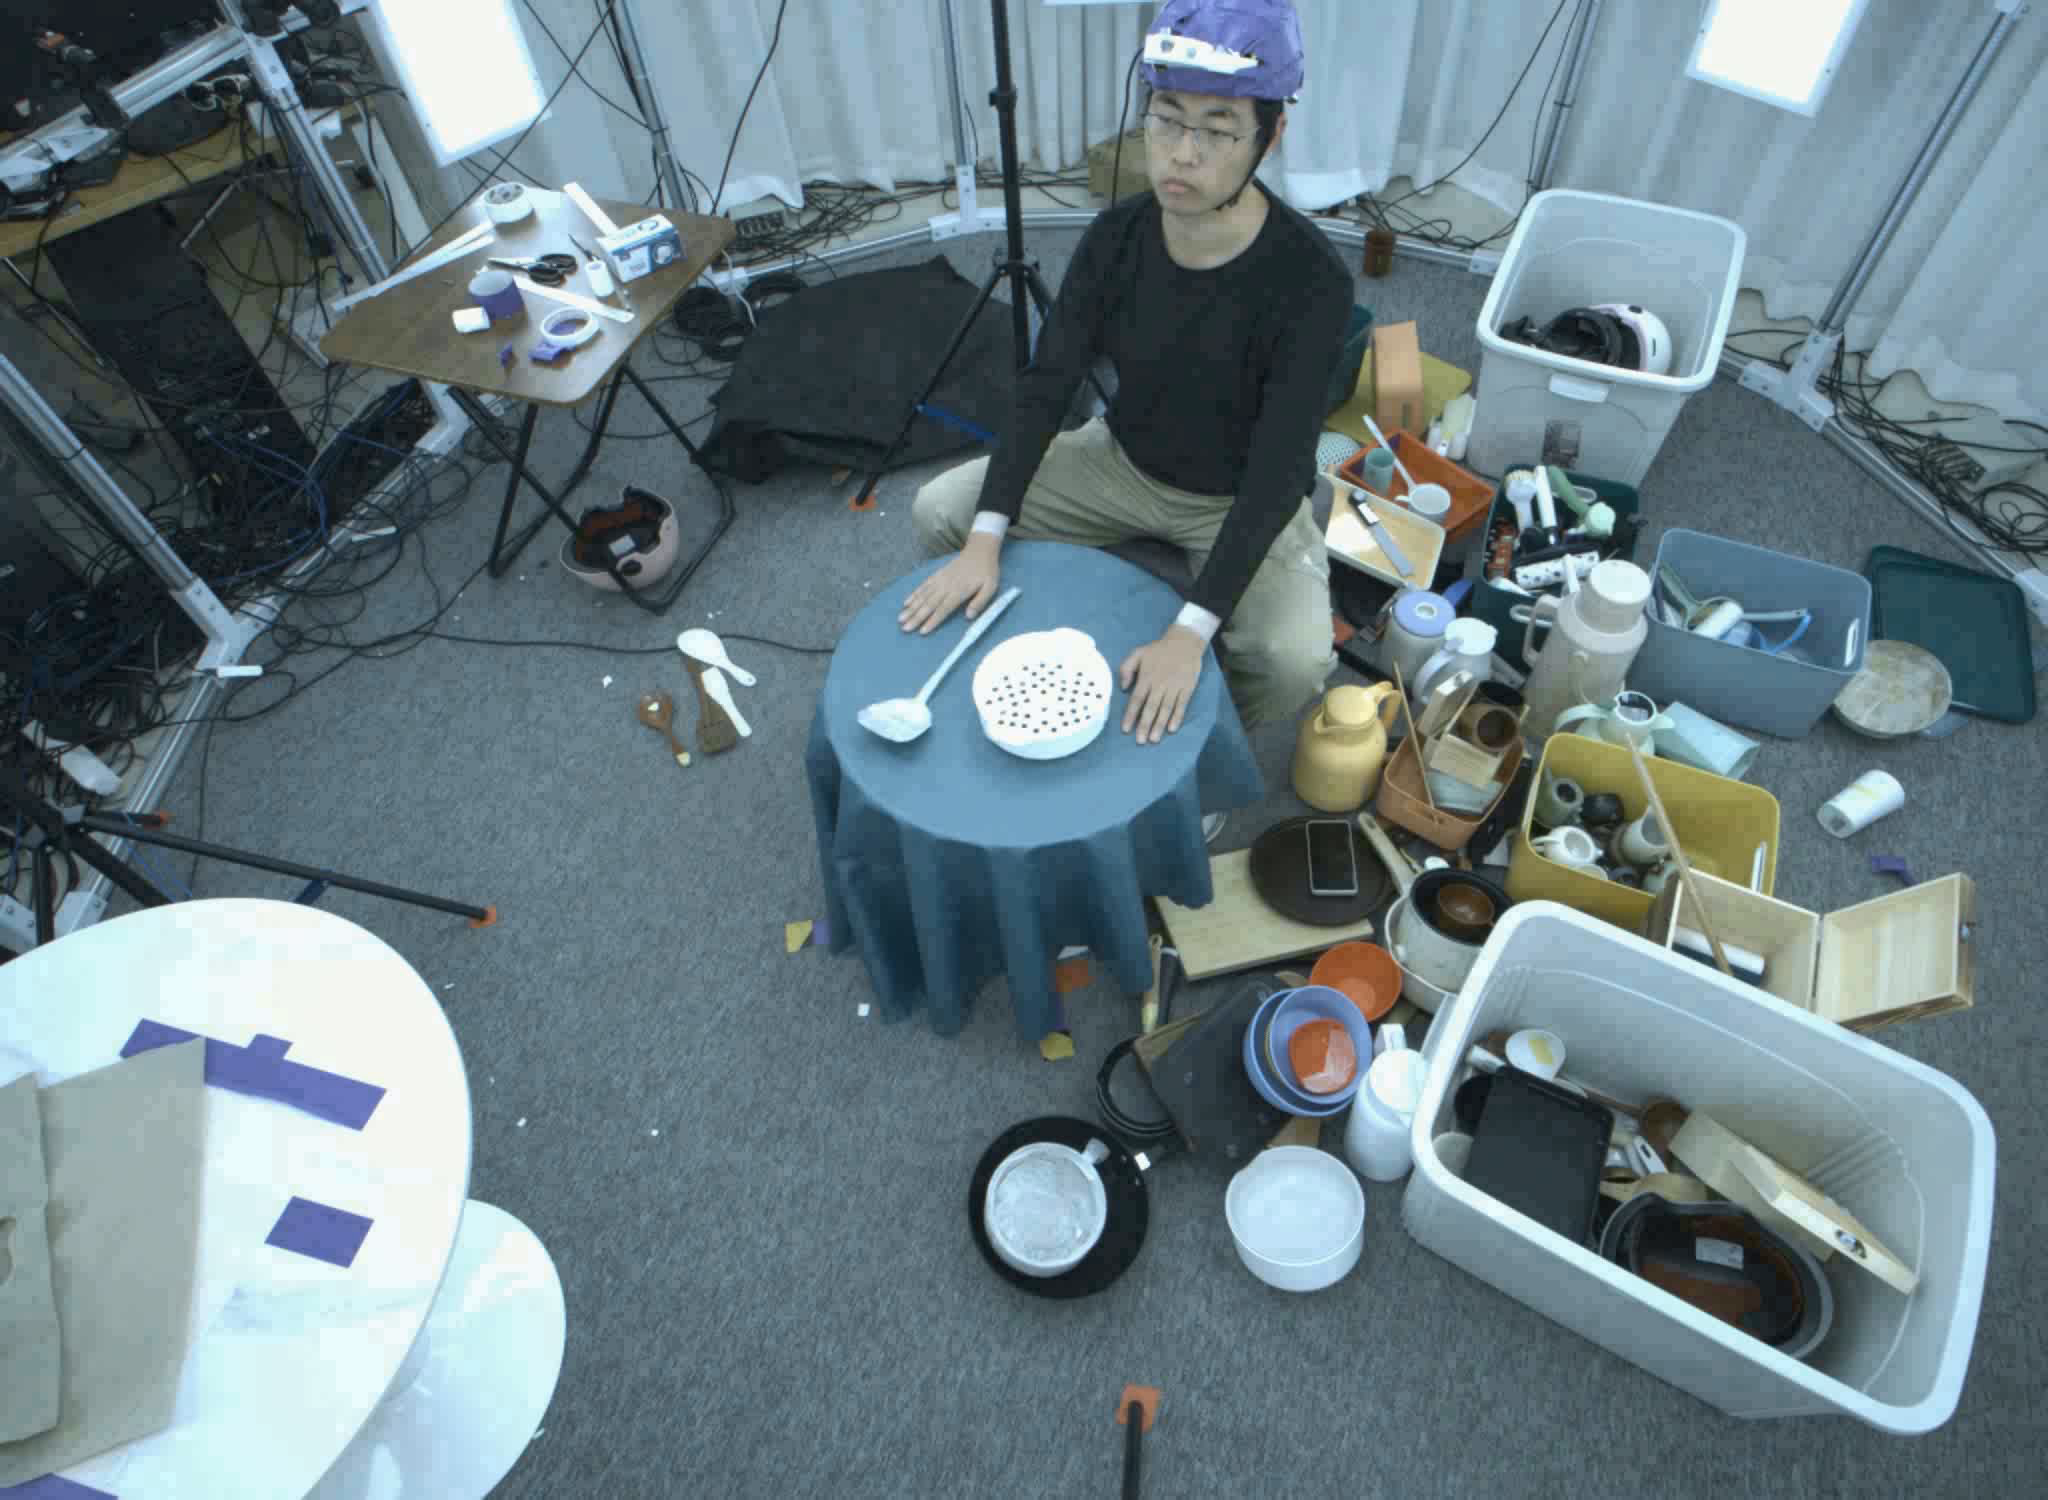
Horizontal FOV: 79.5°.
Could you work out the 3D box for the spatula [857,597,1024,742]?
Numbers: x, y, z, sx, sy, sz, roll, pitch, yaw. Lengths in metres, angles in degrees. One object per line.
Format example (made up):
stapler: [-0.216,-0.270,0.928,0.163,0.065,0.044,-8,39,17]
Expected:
spatula: [-0.111,-0.137,1.865,0.097,0.045,0.366,26,60,22]

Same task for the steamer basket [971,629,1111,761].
steamer basket: [0.025,-0.076,1.798,0.199,0.070,0.231,24,58,16]
